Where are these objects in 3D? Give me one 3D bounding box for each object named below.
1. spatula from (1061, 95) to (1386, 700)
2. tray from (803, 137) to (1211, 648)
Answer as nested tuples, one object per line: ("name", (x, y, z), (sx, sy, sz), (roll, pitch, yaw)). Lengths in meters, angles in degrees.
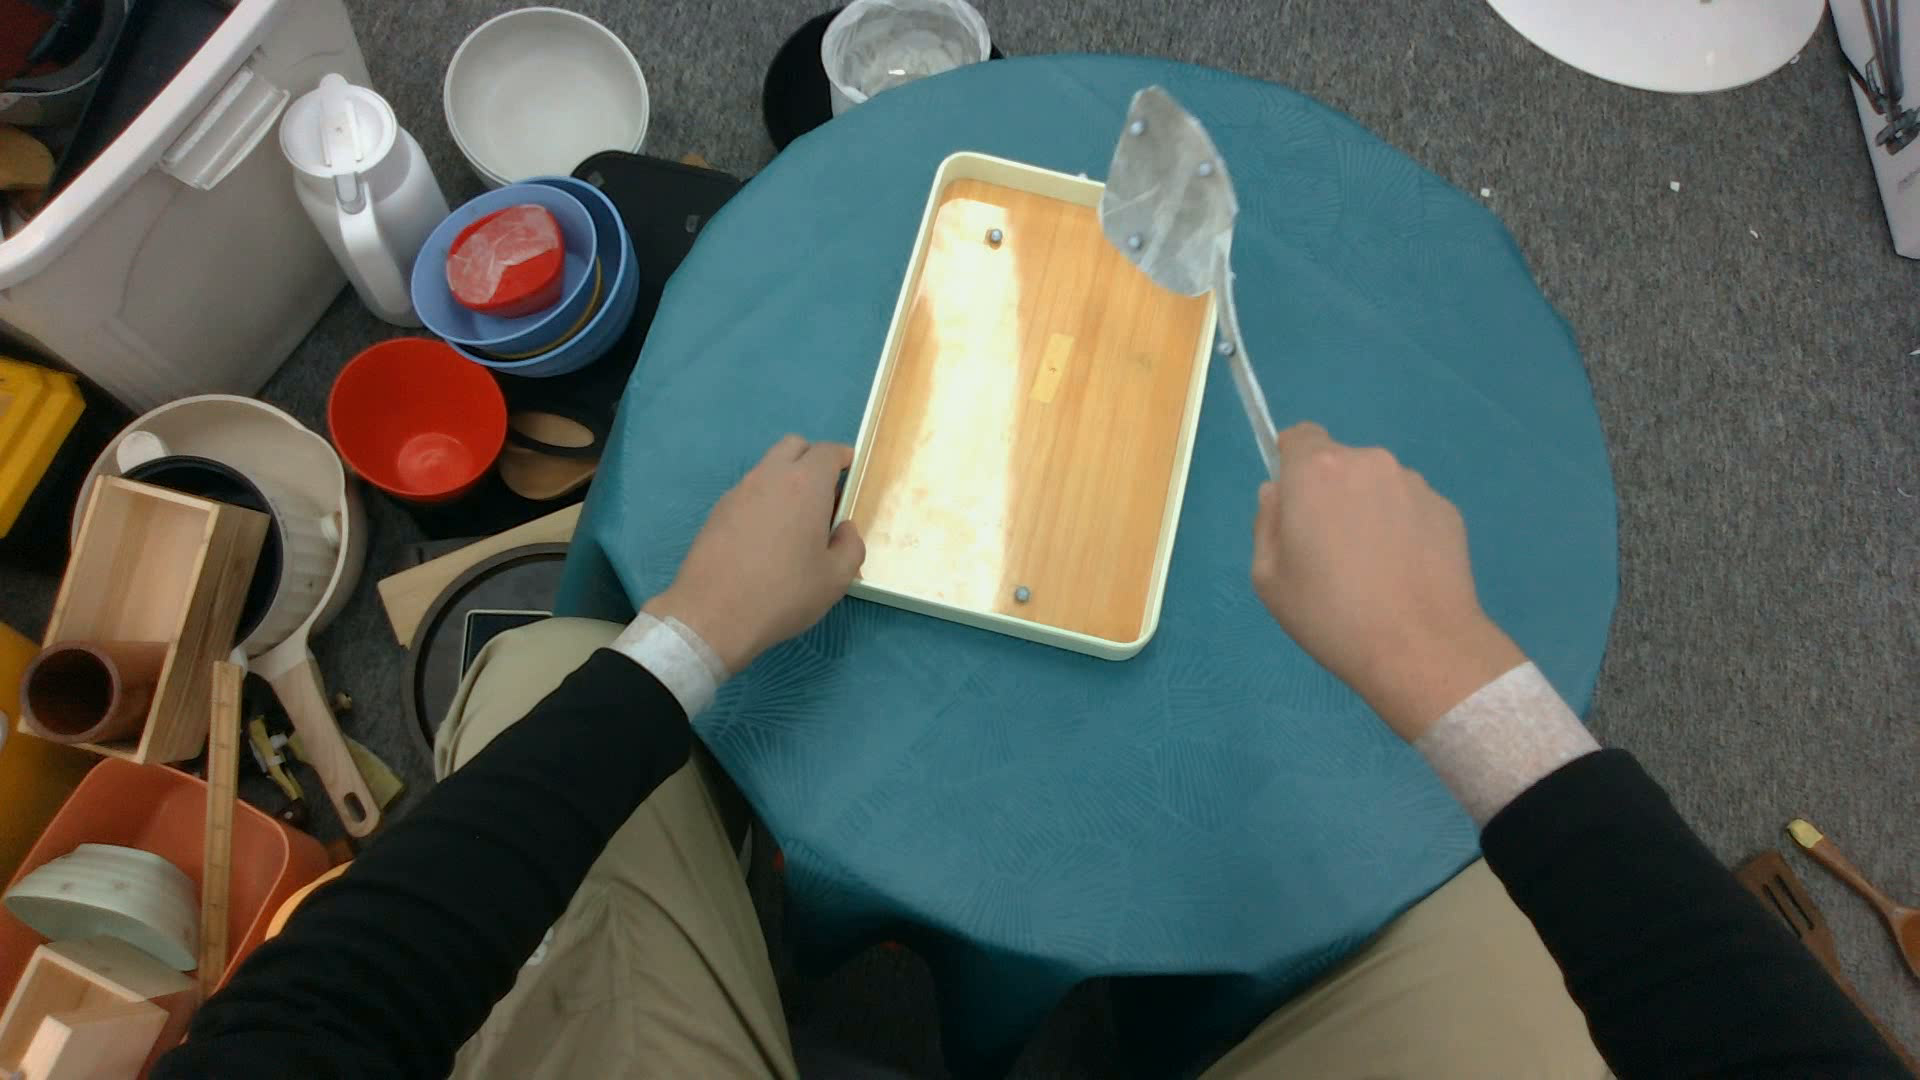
("spatula", (0.121, -0.079, 0.673), (0.045, 0.098, 0.366), (-4, 52, -14))
("tray", (0.034, -0.096, 0.822), (0.191, 0.027, 0.301), (14, 68, 0))
